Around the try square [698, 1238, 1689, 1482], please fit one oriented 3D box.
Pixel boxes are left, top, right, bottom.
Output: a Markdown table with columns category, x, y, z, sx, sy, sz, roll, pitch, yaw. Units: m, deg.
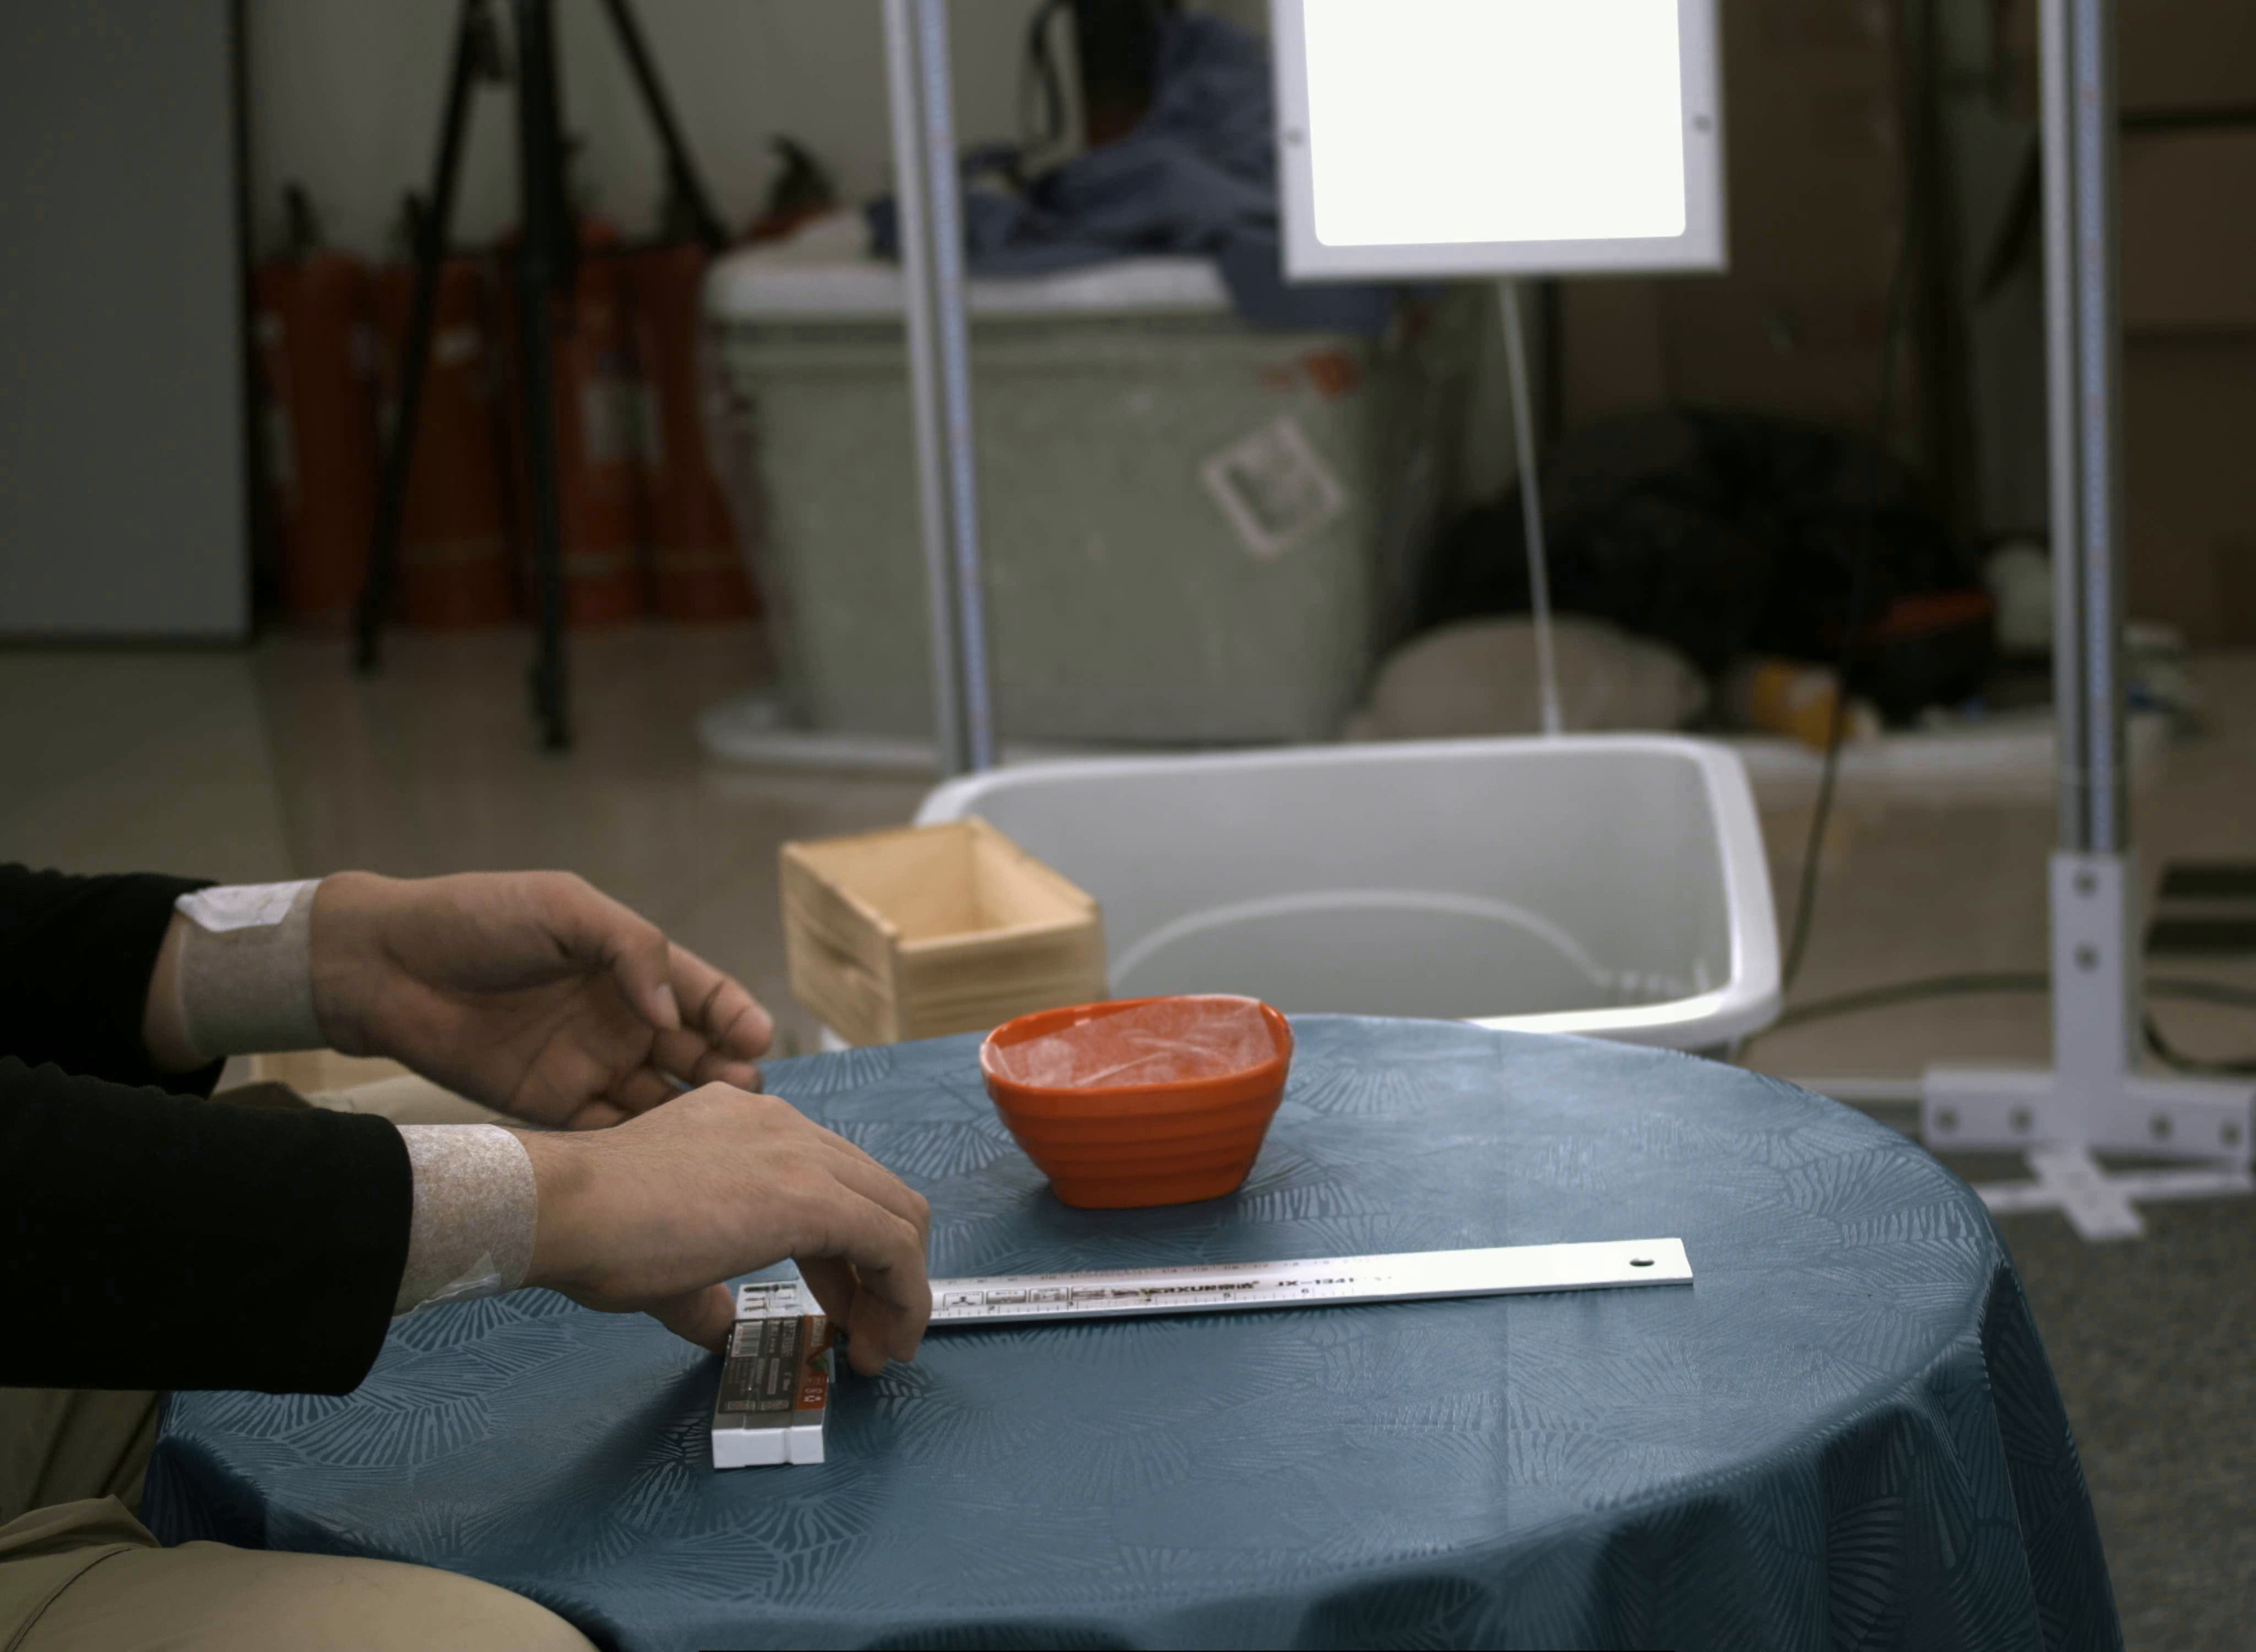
| category | x | y | z | sx | sy | sz | roll | pitch | yaw |
| --- | --- | --- | --- | --- | --- | --- | --- | --- | --- |
| try square | 0.025 | 0.164 | 1.729 | 0.313 | 0.016 | 0.152 | -3 | 16 | 3 |

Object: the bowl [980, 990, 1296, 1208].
| category | x | y | z | sx | sy | sz | roll | pitch | yaw |
| --- | --- | --- | --- | --- | --- | --- | --- | --- | --- |
| bowl | 0.005 | 0.097 | 1.906 | 0.118 | 0.051 | 0.119 | -4 | 15 | 0 |
